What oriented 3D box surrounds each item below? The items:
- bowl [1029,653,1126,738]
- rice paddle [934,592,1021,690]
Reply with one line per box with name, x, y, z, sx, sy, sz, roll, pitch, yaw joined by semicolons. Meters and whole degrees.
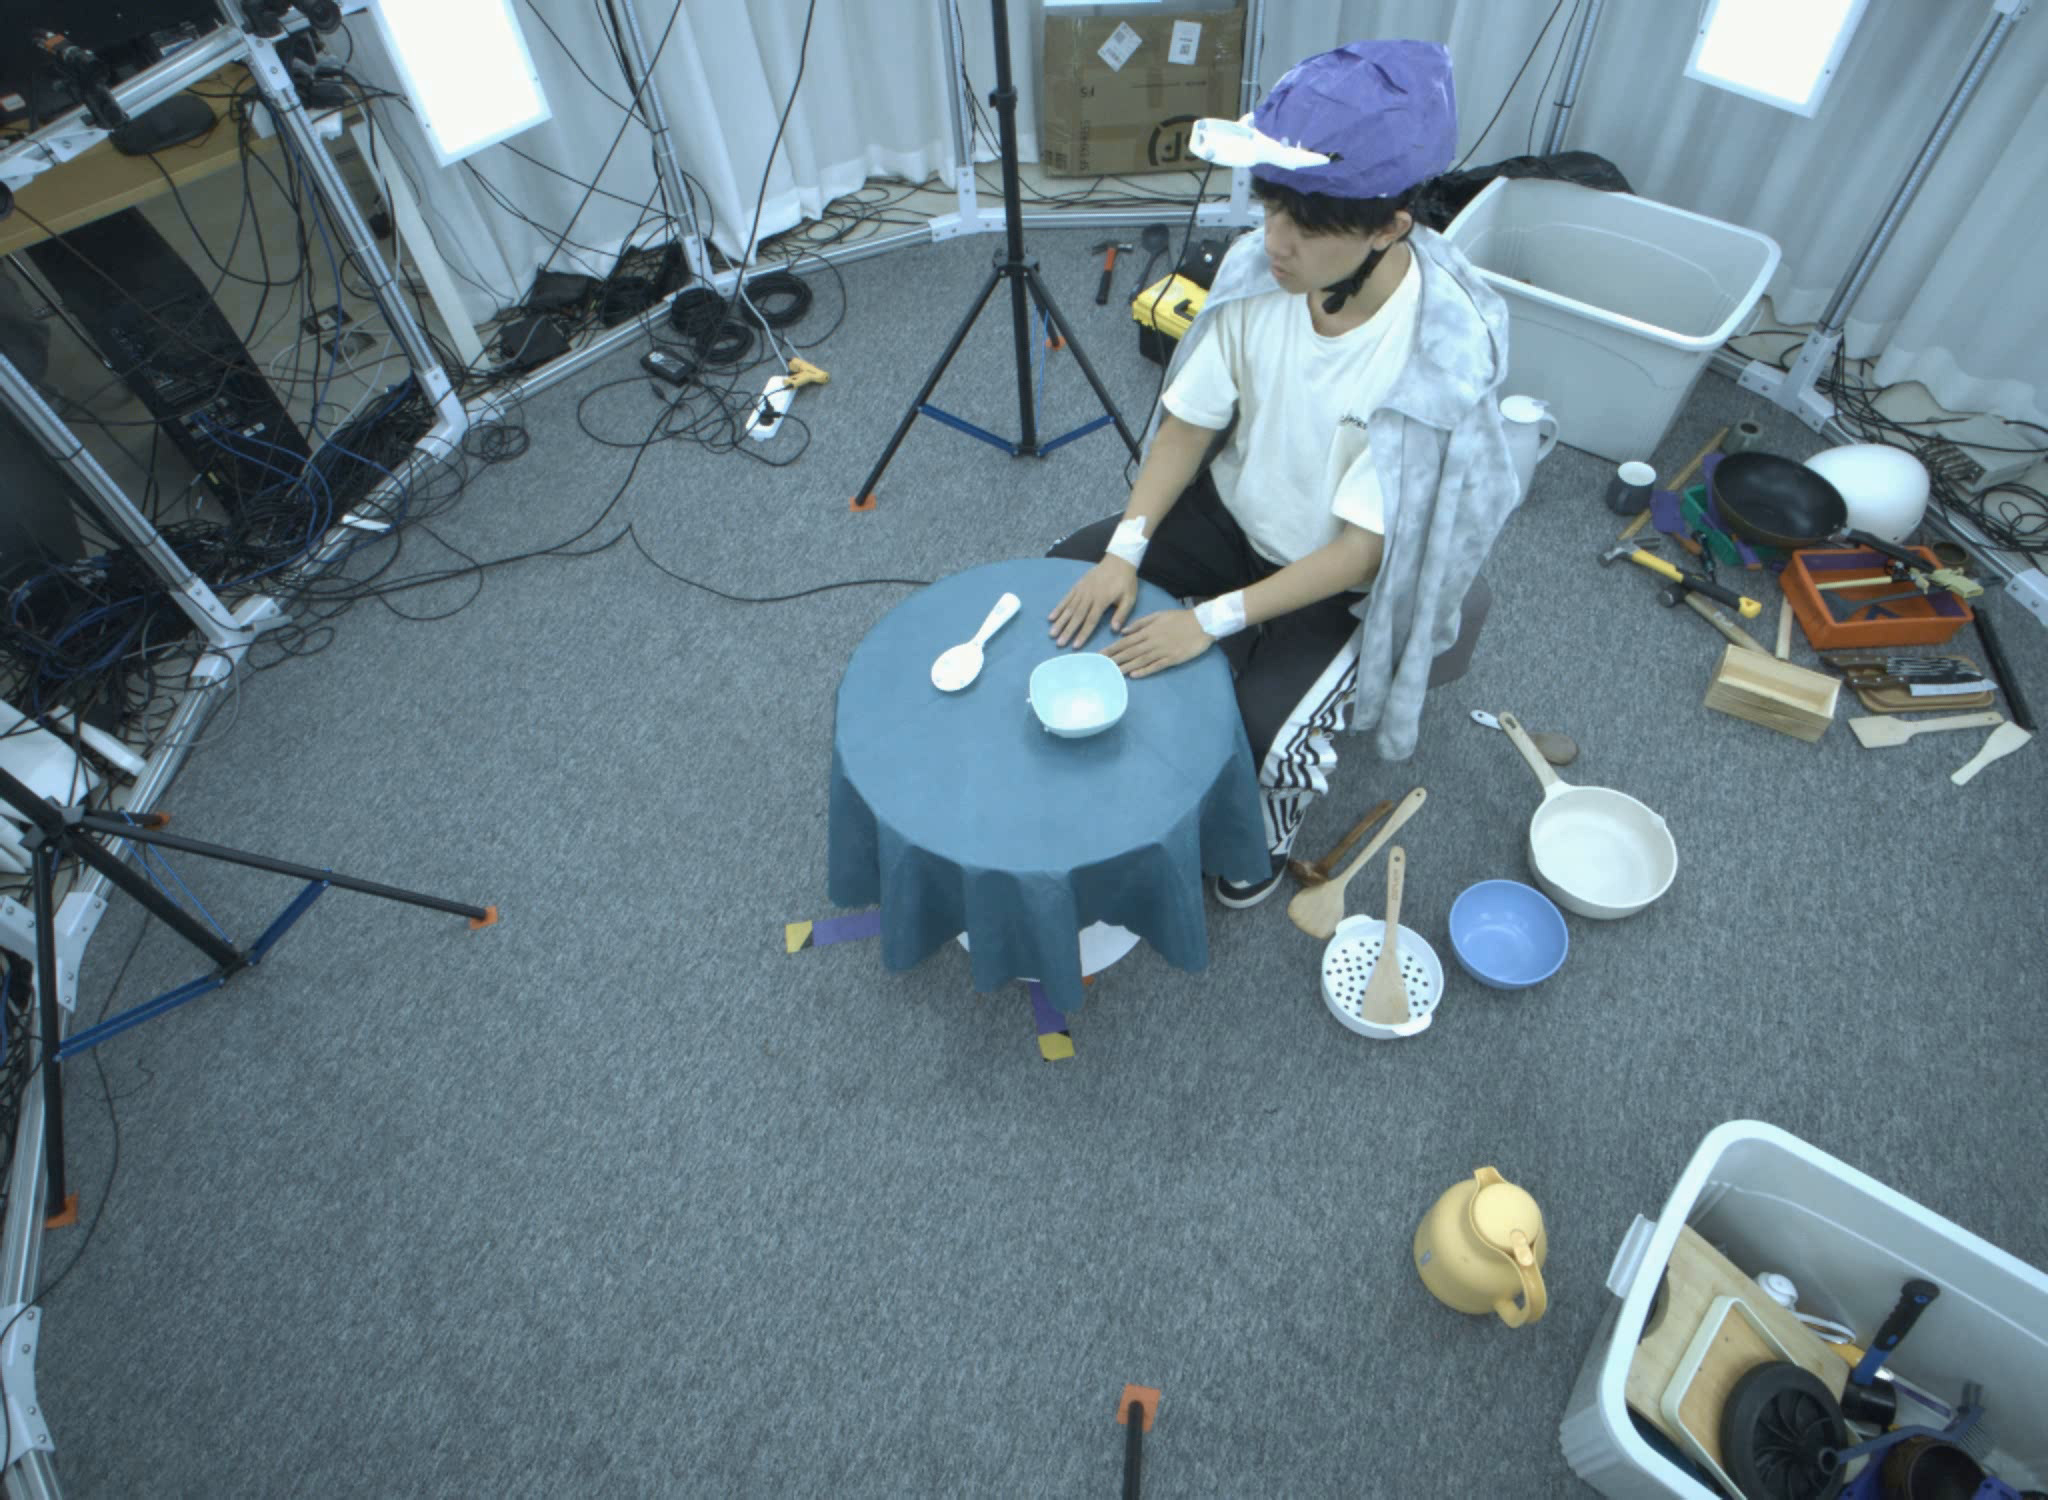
bowl;0.079;-0.070;1.799;0.151;0.059;0.150;-3;53;5
rice paddle;-0.070;-0.167;1.891;0.068;0.030;0.206;24;59;20
